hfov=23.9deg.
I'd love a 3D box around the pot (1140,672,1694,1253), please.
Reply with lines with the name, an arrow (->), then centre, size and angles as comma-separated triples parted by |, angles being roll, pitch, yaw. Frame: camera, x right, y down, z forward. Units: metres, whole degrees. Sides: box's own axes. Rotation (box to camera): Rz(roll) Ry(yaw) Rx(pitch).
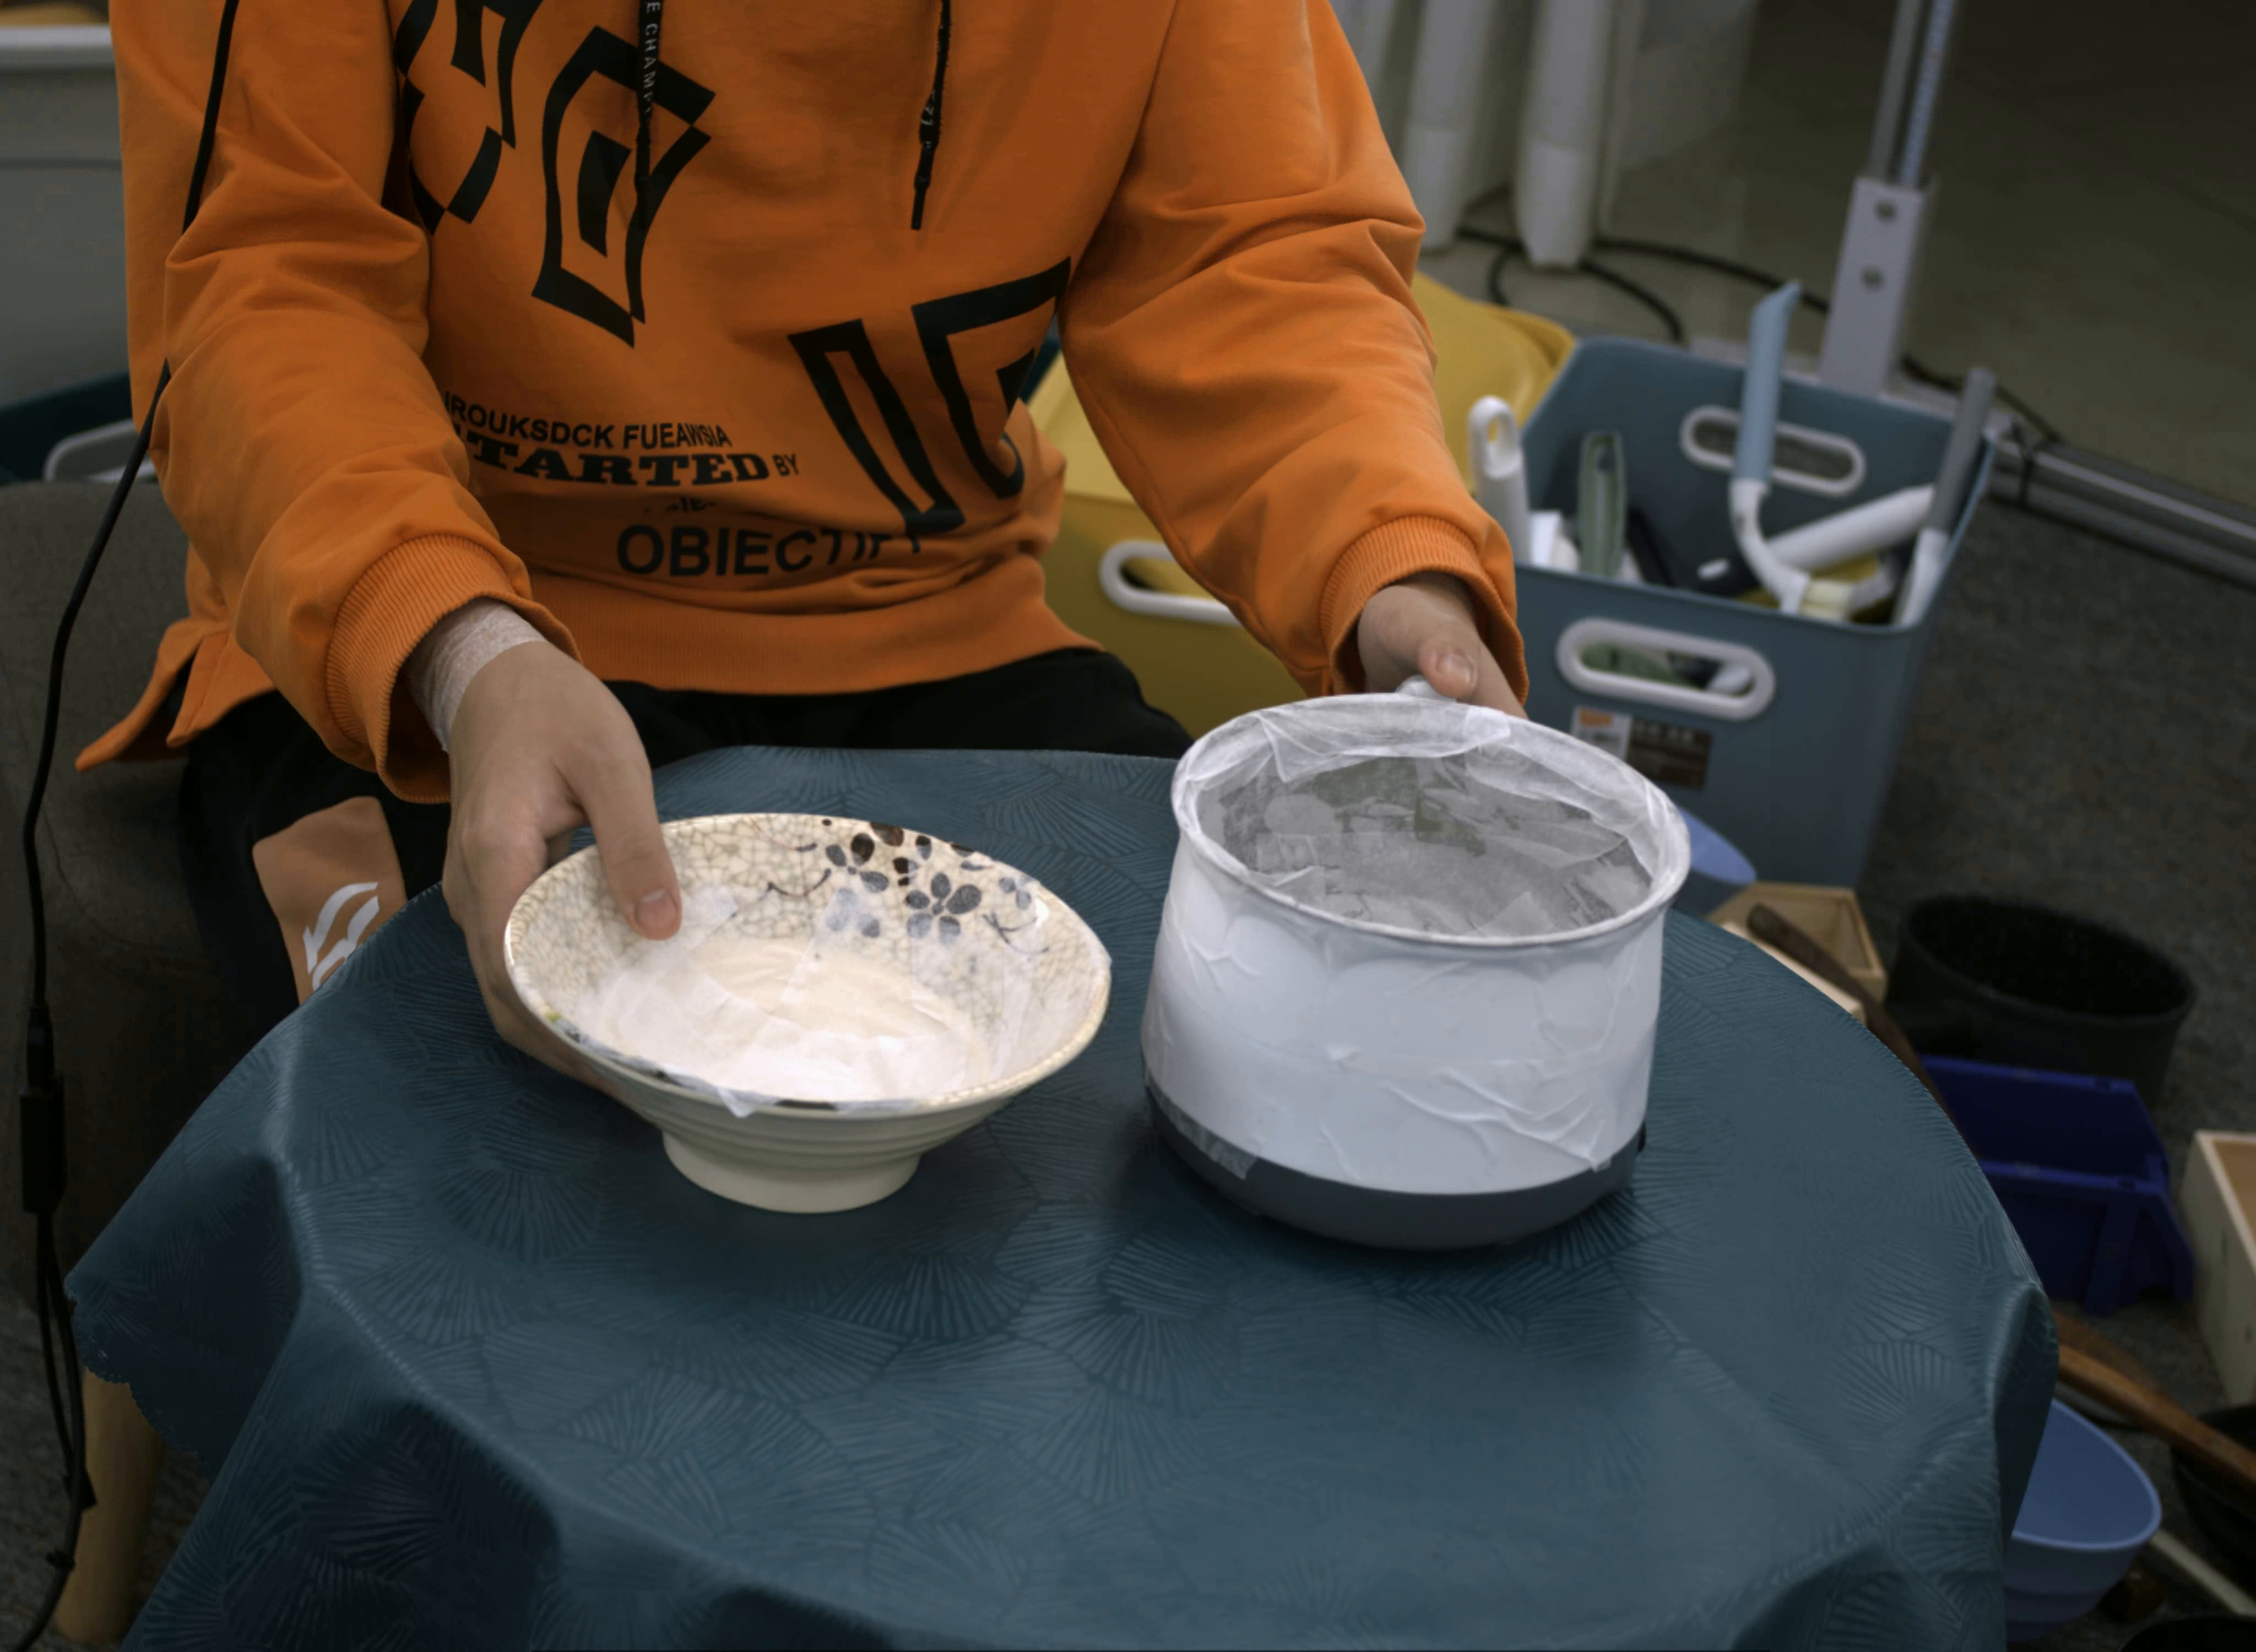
pot -> 0.096, 0.039, 1.839 | 0.178, 0.136, 0.235 | 6, 27, -2

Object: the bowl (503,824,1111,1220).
bowl -> -0.110, 0.077, 1.787 | 0.203, 0.078, 0.205 | 4, 25, -2
